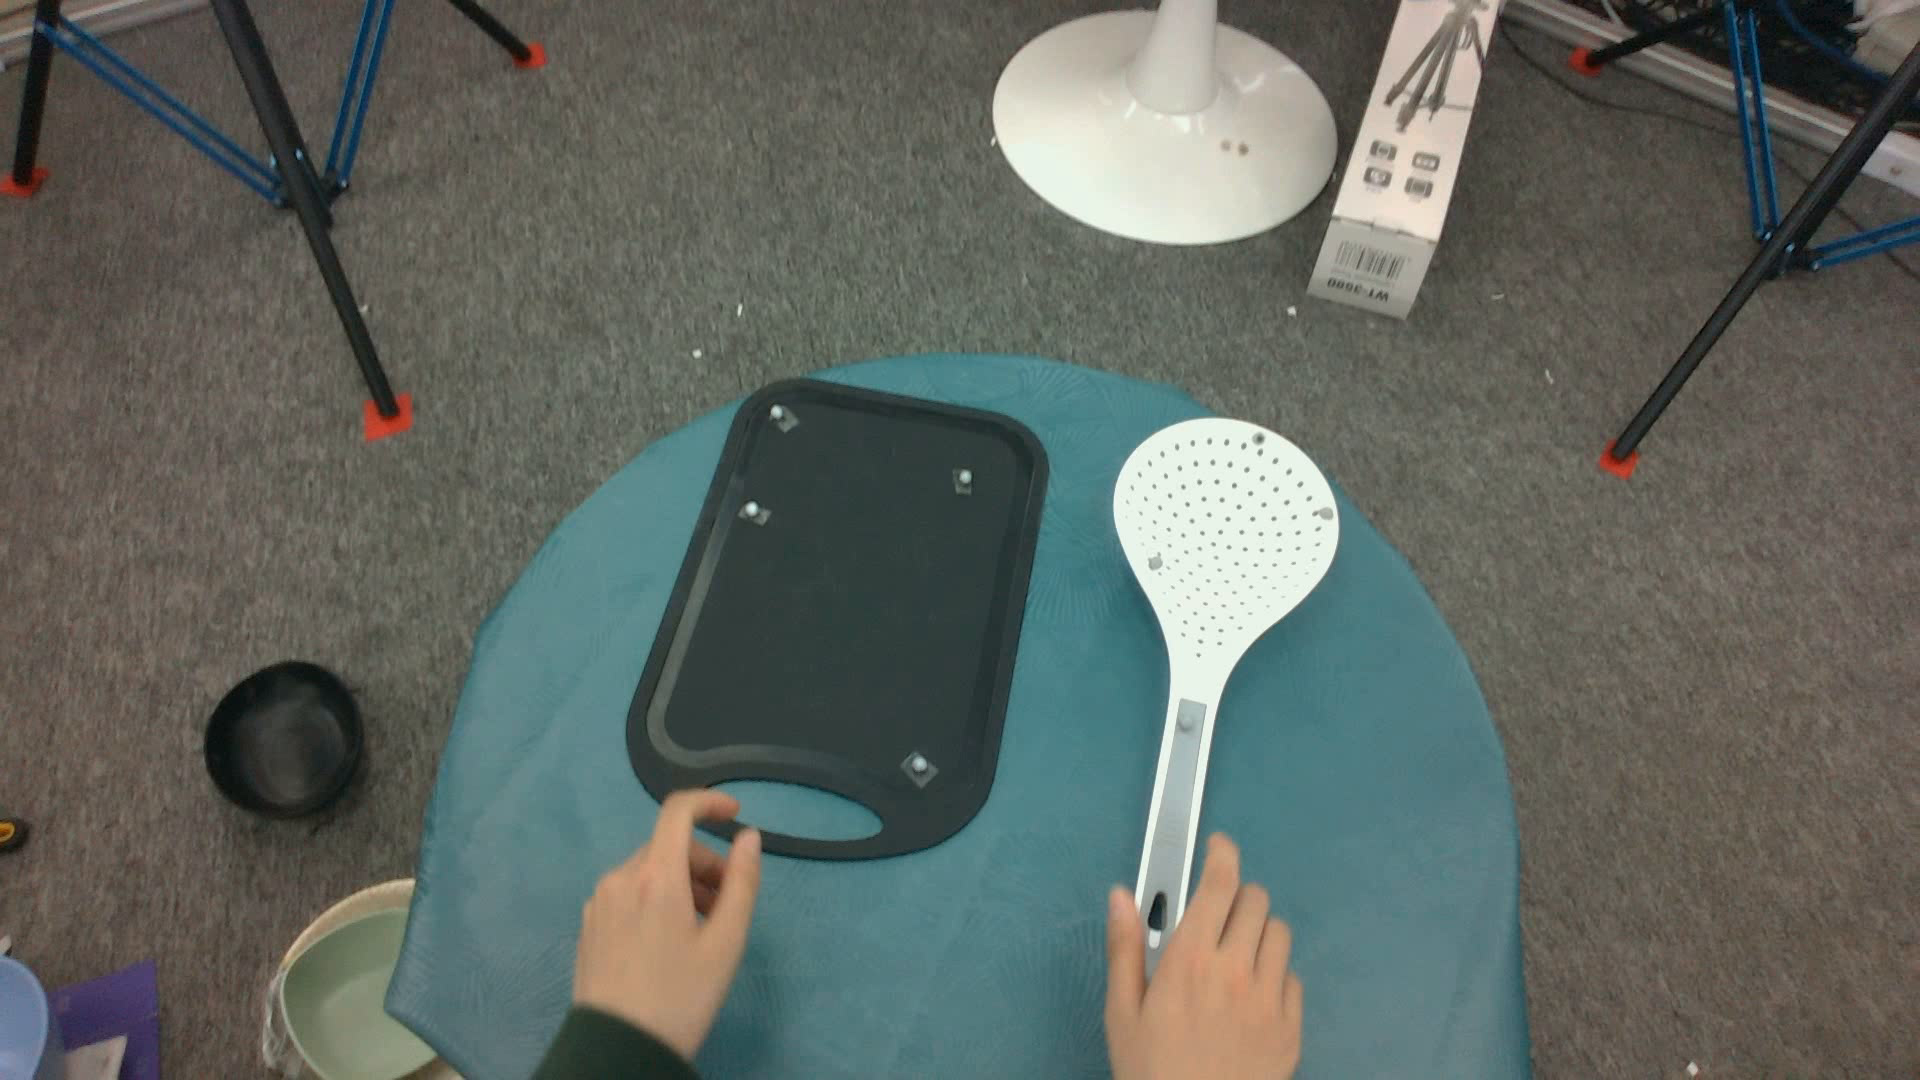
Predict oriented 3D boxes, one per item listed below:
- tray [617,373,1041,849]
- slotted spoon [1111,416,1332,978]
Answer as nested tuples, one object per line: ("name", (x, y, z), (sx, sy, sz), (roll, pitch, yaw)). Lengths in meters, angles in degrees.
("tray", (-0.071, 0.030, 0.826), (0.211, 0.010, 0.327), (11, 55, 3))
("slotted spoon", (0.132, 0.075, 0.789), (0.136, 0.045, 0.351), (13, 56, 5))
